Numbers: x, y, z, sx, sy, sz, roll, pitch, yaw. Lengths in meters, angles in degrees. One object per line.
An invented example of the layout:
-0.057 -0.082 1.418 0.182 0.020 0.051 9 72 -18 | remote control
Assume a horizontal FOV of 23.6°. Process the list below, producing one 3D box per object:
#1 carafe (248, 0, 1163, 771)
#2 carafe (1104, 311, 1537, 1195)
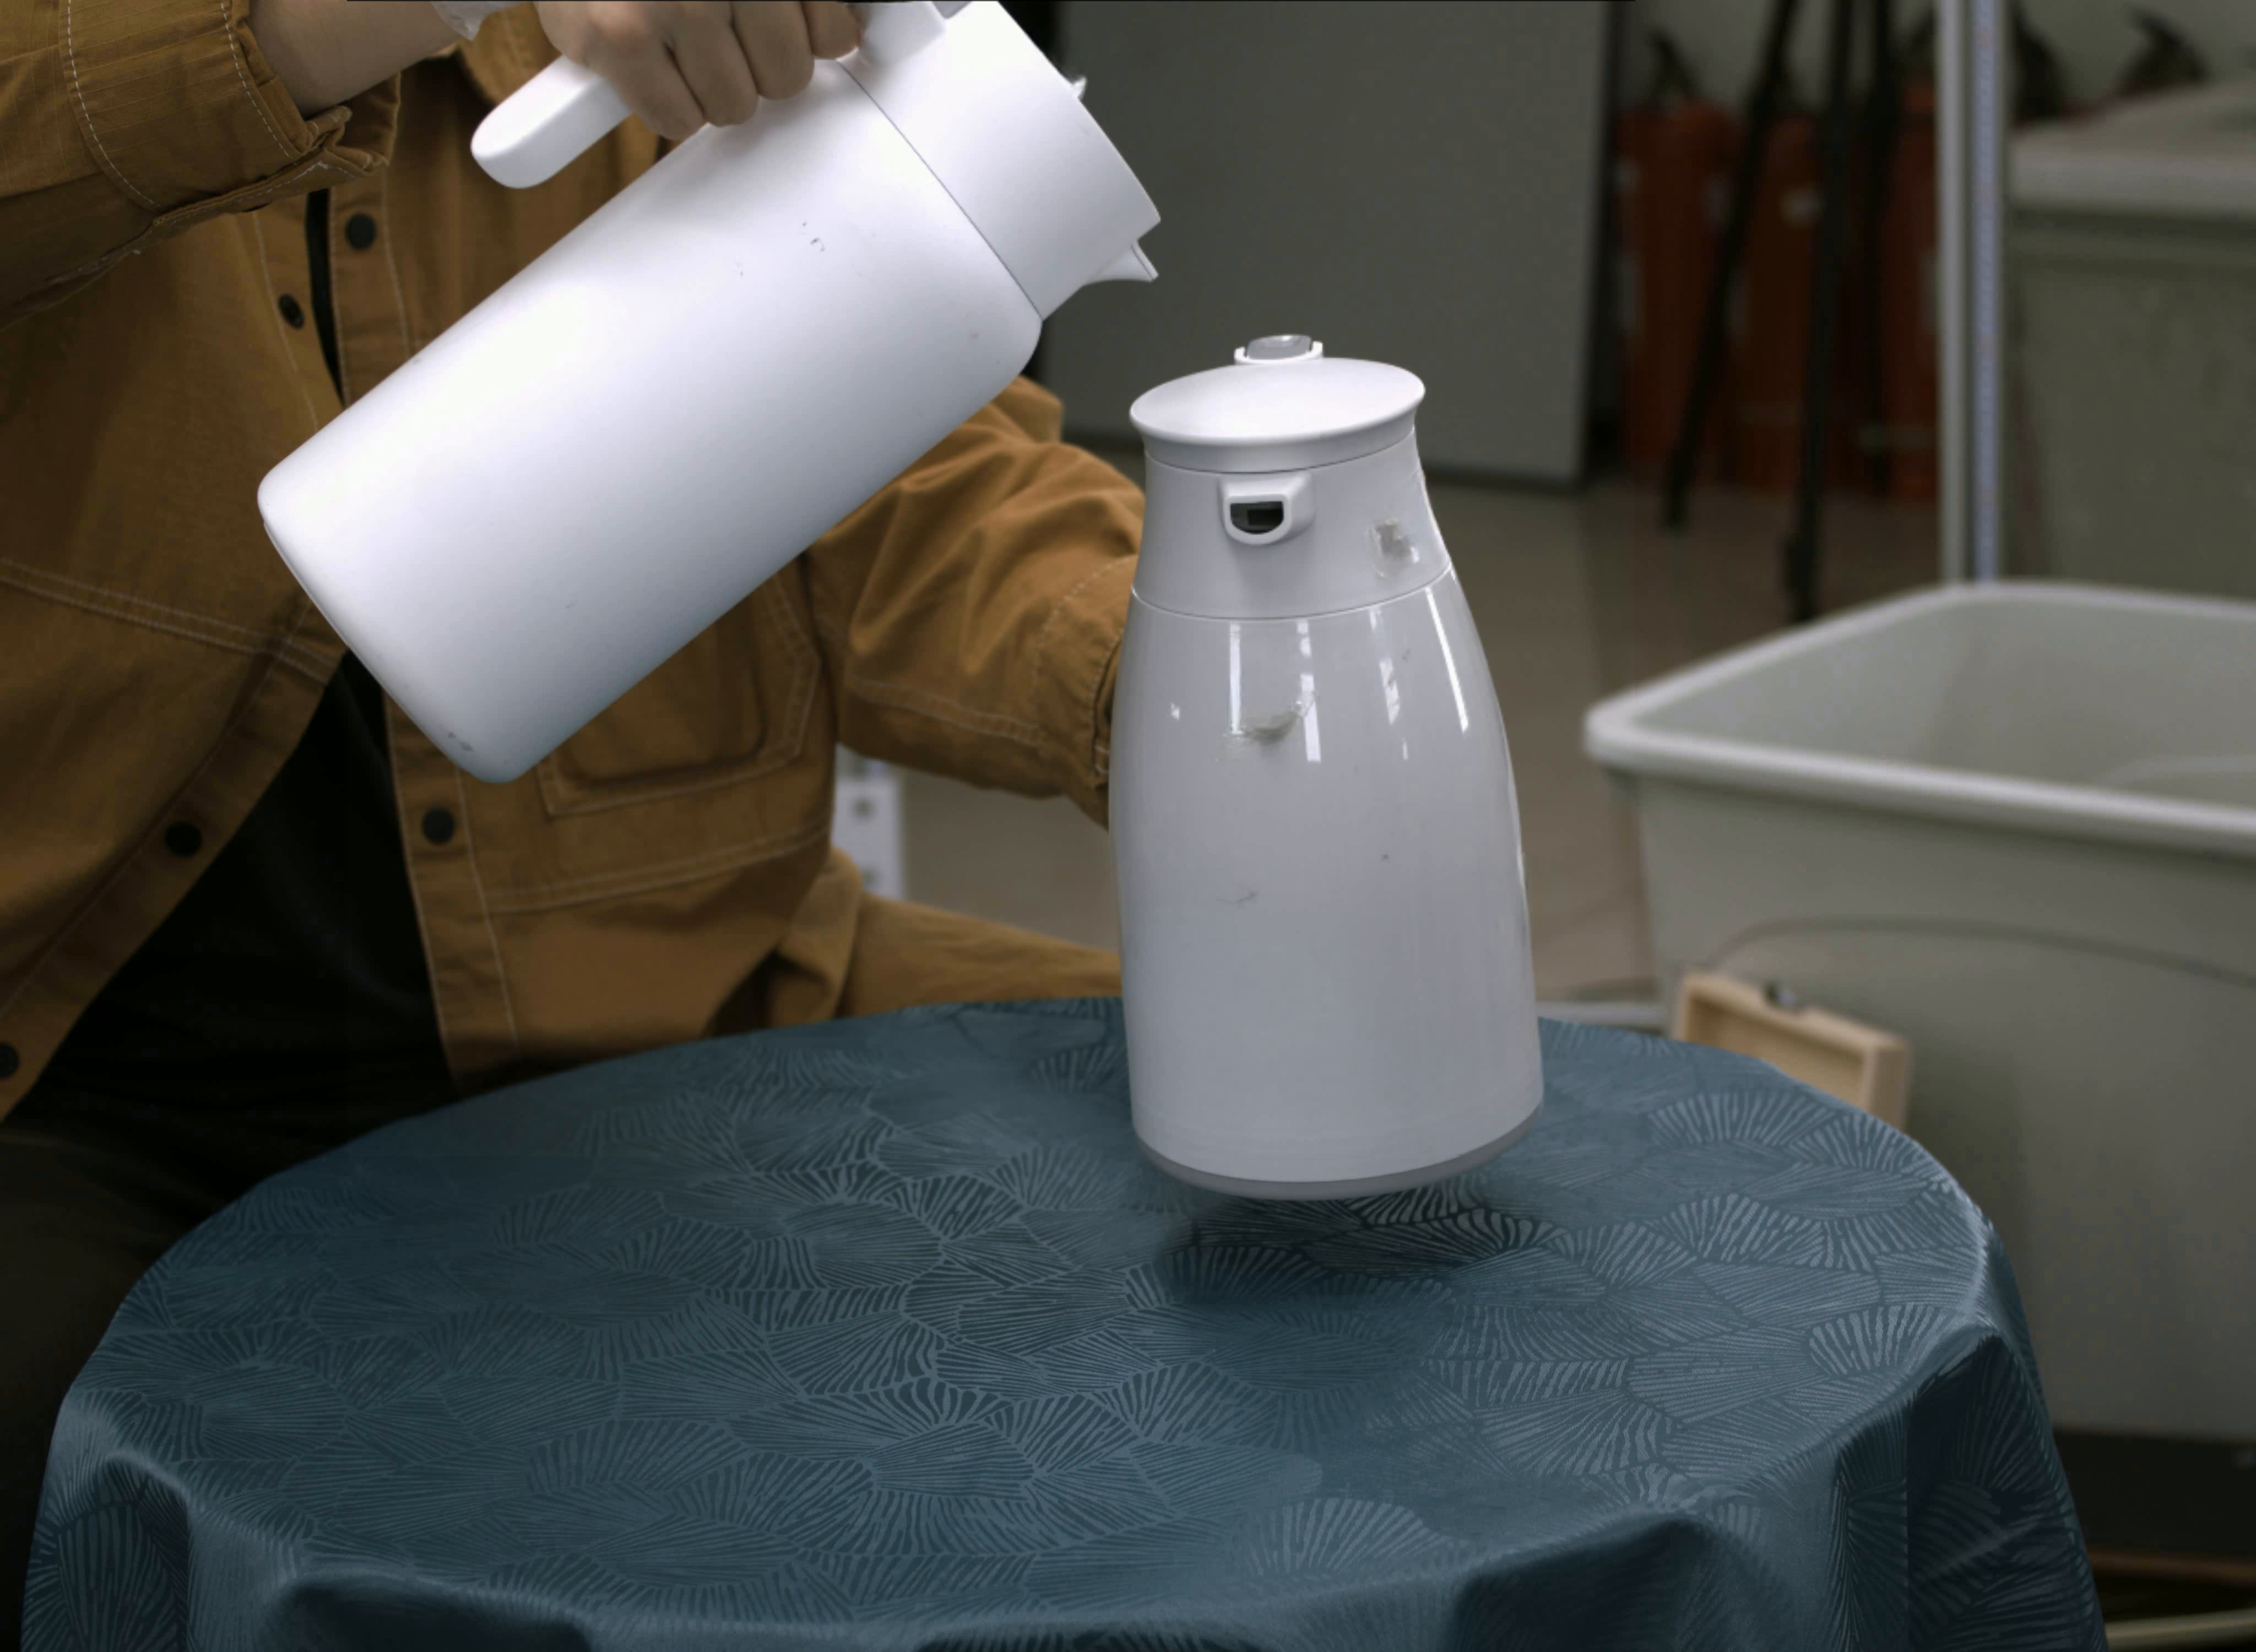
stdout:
-0.133 -0.153 1.590 0.268 0.171 0.125 -38 31 3 | carafe
0.056 -0.032 1.696 0.131 0.251 0.167 -3 17 9 | carafe
